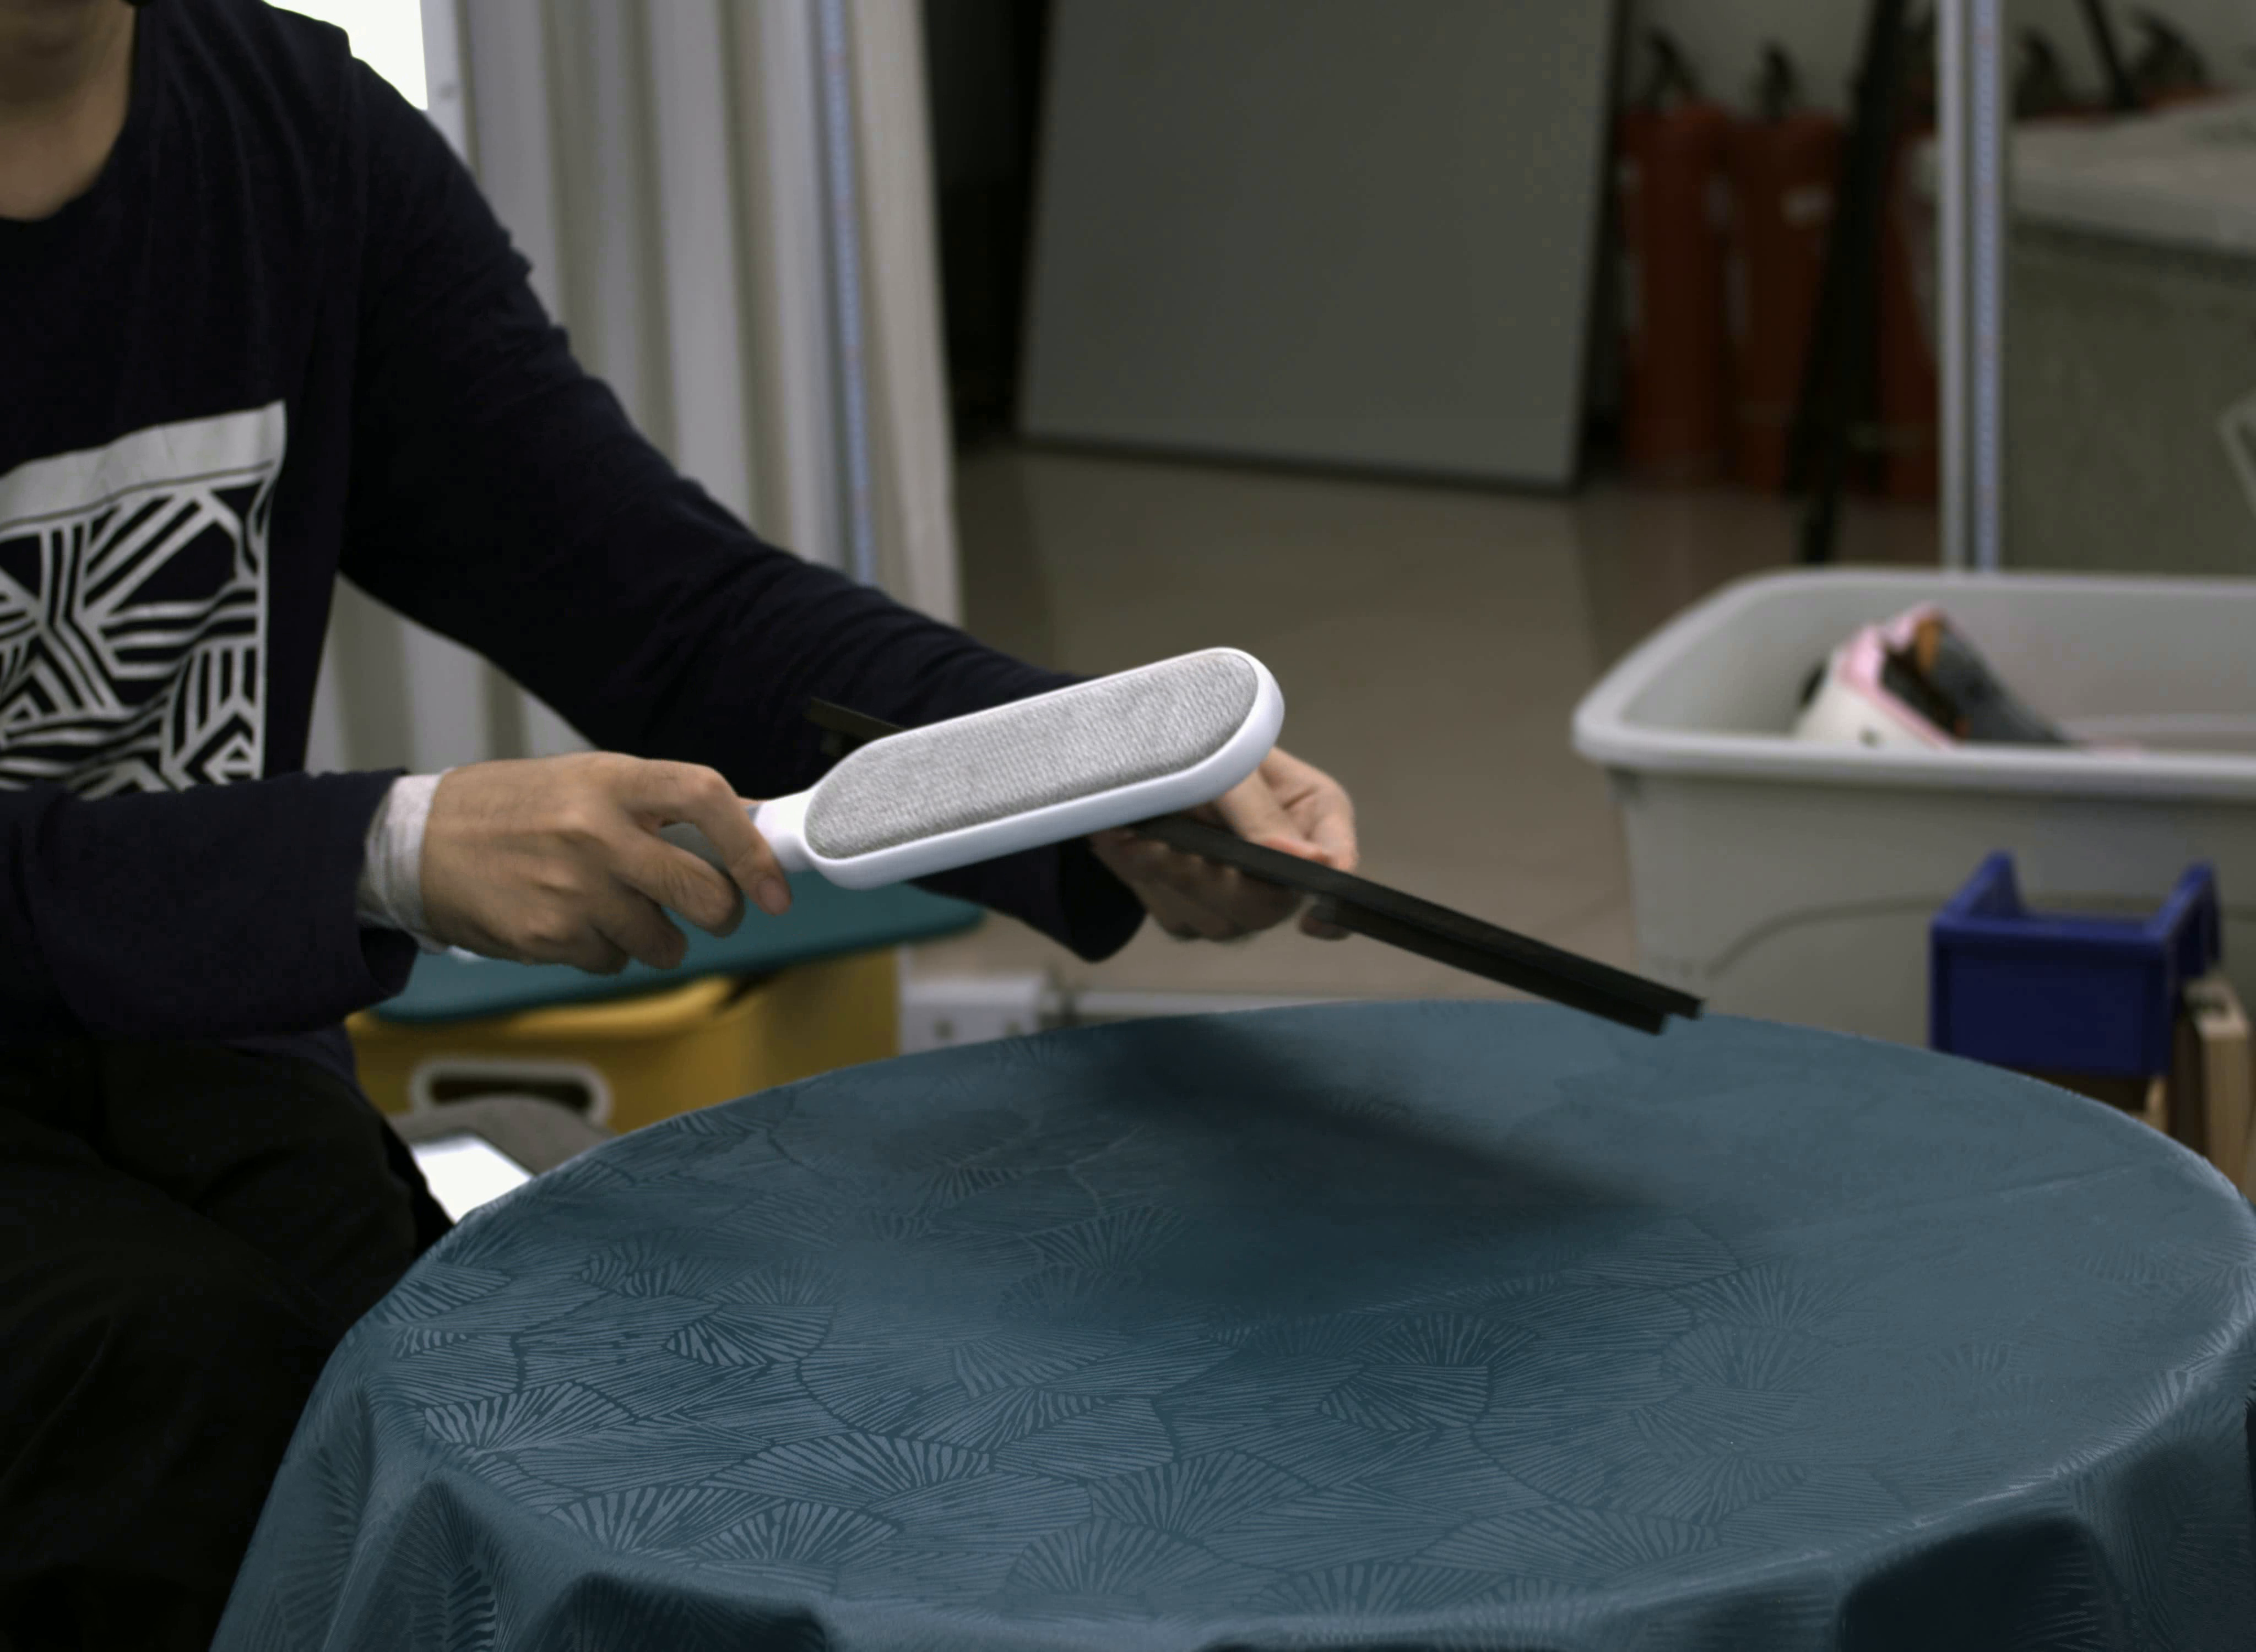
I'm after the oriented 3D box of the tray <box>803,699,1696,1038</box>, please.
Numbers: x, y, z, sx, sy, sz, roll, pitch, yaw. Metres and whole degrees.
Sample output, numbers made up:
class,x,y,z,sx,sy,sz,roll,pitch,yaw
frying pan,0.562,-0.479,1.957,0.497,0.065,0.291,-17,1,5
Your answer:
class,x,y,z,sx,sy,sz,roll,pitch,yaw
tray,0.034,0.014,1.789,0.166,0.019,0.309,20,-2,-39

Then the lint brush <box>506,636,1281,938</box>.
class,x,y,z,sx,sy,sz,roll,pitch,yaw
lint brush,-0.081,-0.007,1.755,0.310,0.020,0.060,-15,48,32
